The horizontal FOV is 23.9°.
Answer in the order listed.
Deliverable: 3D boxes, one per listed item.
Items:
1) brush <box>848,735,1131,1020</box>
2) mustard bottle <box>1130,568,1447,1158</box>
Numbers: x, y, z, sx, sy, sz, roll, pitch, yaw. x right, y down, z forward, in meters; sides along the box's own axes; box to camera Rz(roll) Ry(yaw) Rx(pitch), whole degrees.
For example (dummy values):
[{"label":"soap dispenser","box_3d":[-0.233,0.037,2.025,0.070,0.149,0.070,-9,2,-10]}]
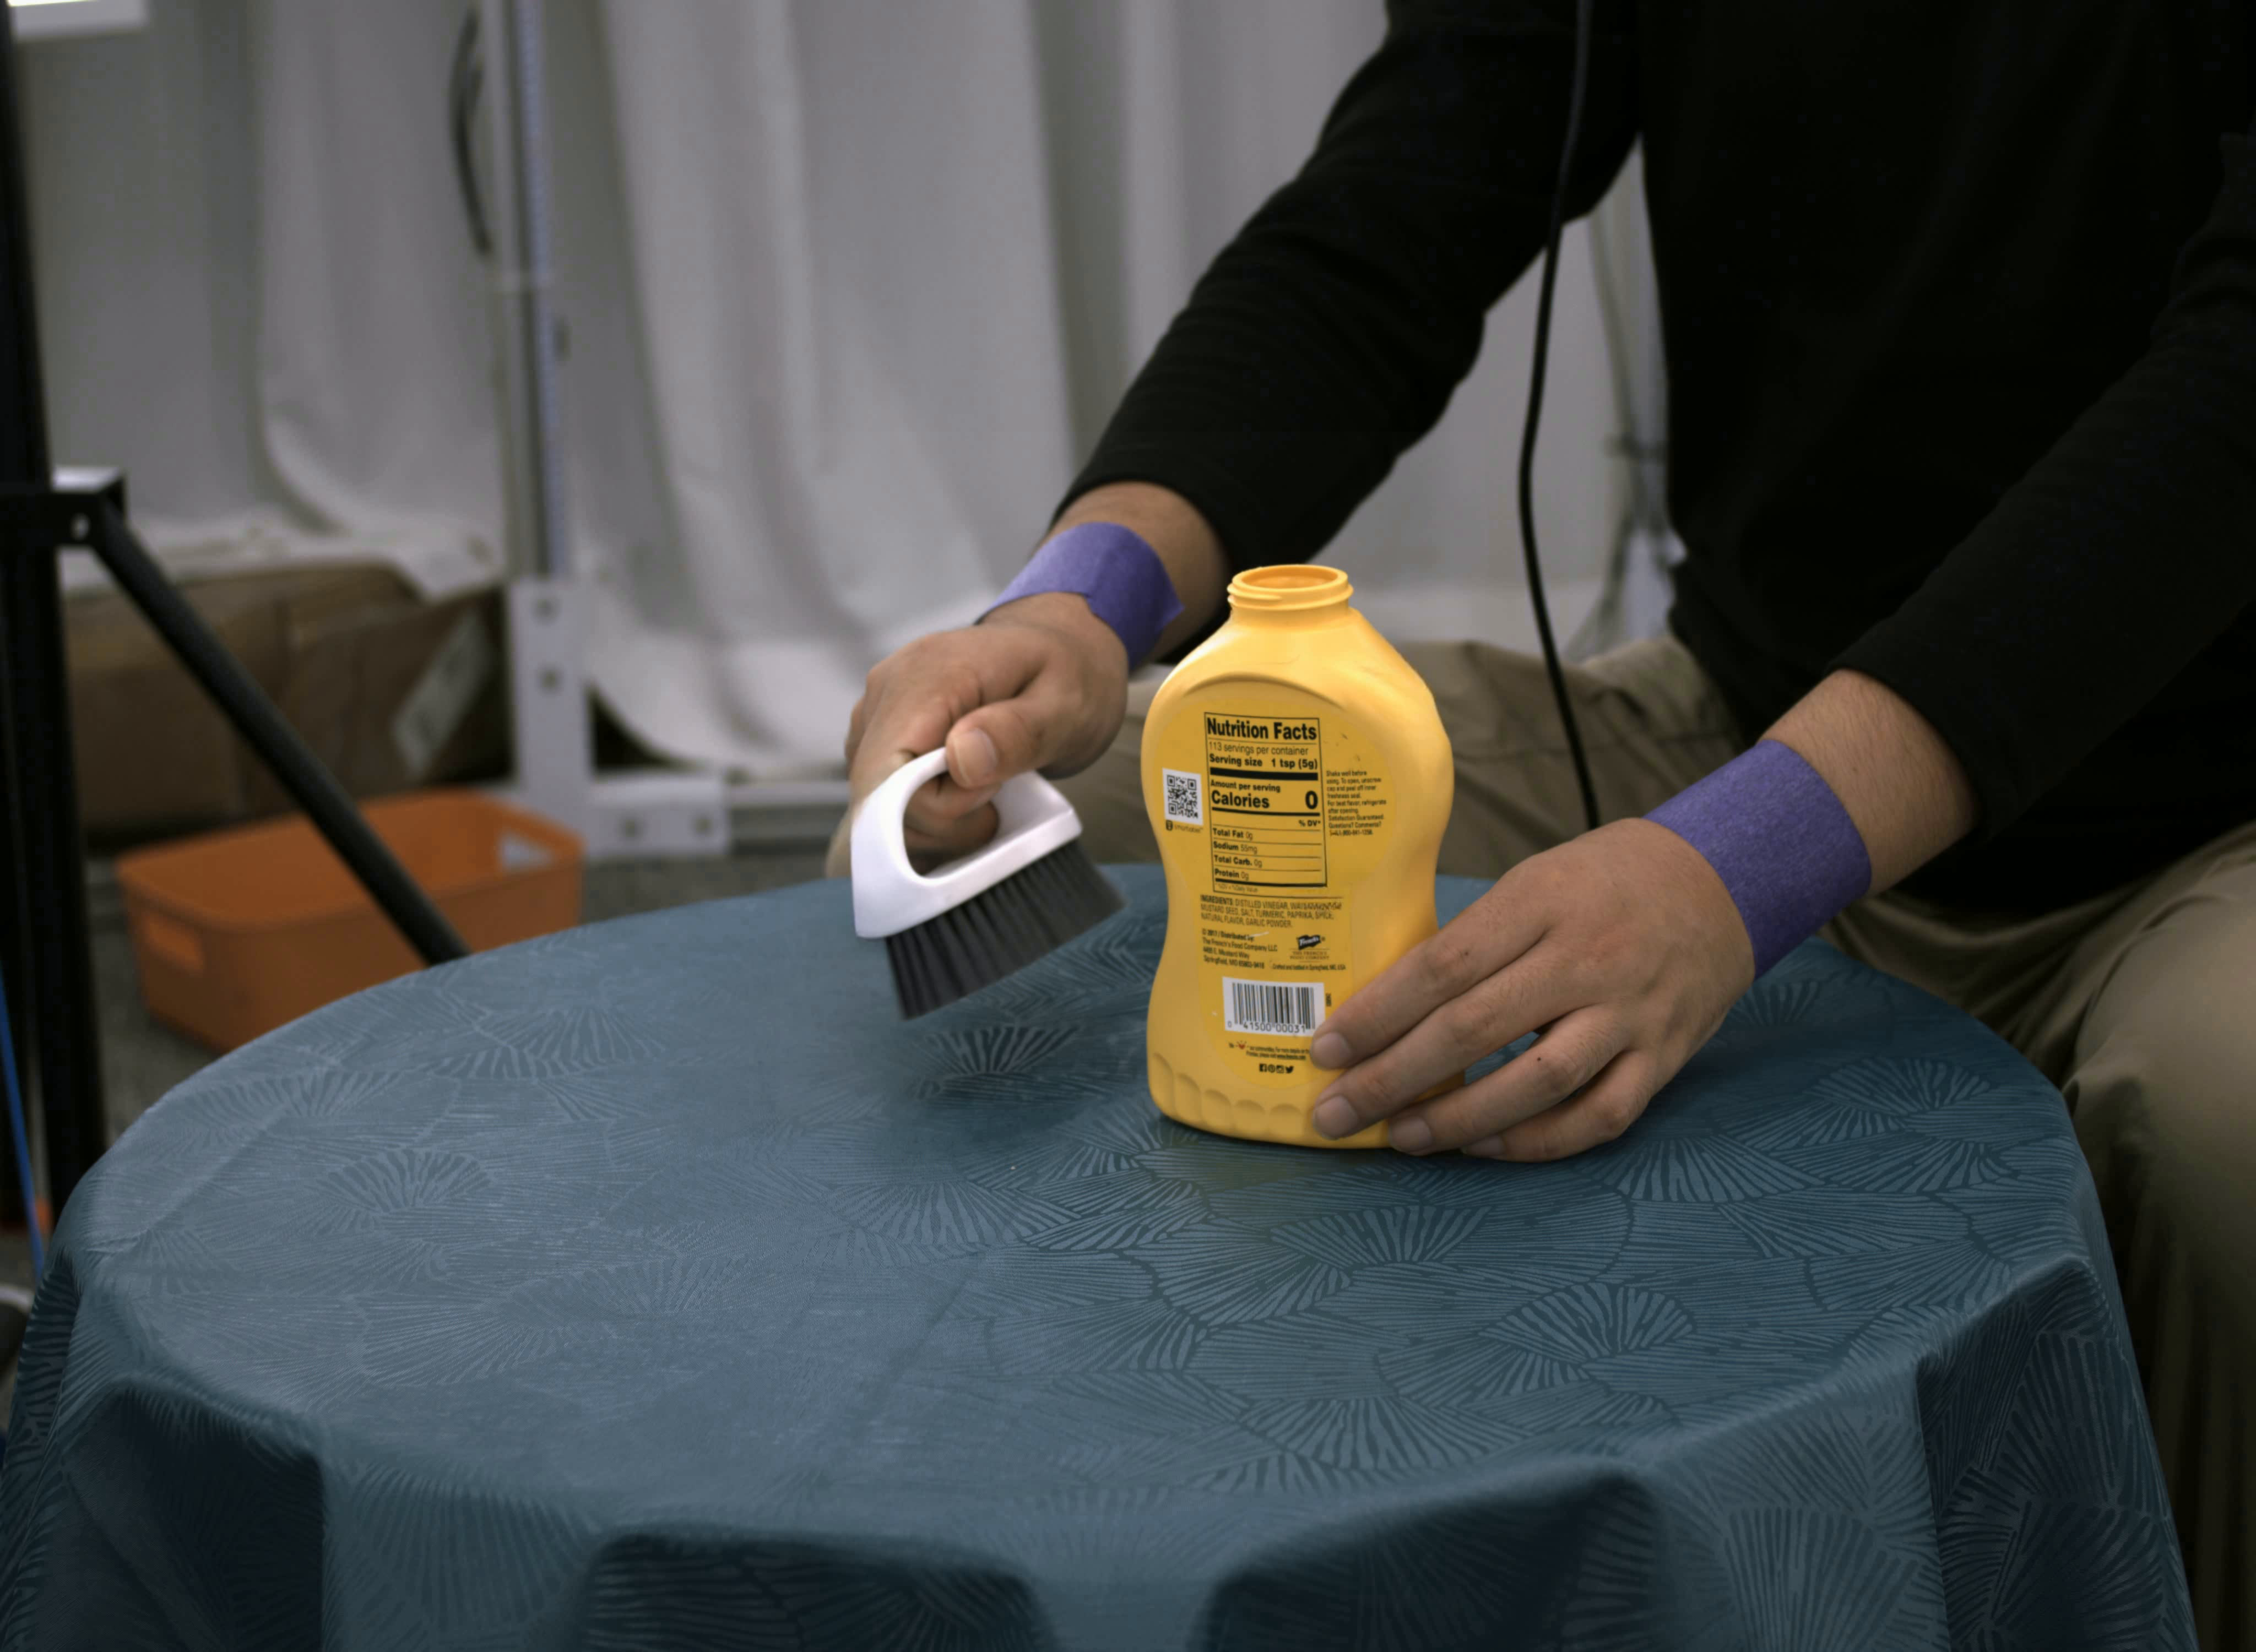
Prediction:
[{"label":"brush","box_3d":[-0.050,0.010,1.666,0.051,0.073,0.097,-29,1,39]},{"label":"mustard bottle","box_3d":[0.048,0.010,1.592,0.099,0.172,0.058,3,12,23]}]
